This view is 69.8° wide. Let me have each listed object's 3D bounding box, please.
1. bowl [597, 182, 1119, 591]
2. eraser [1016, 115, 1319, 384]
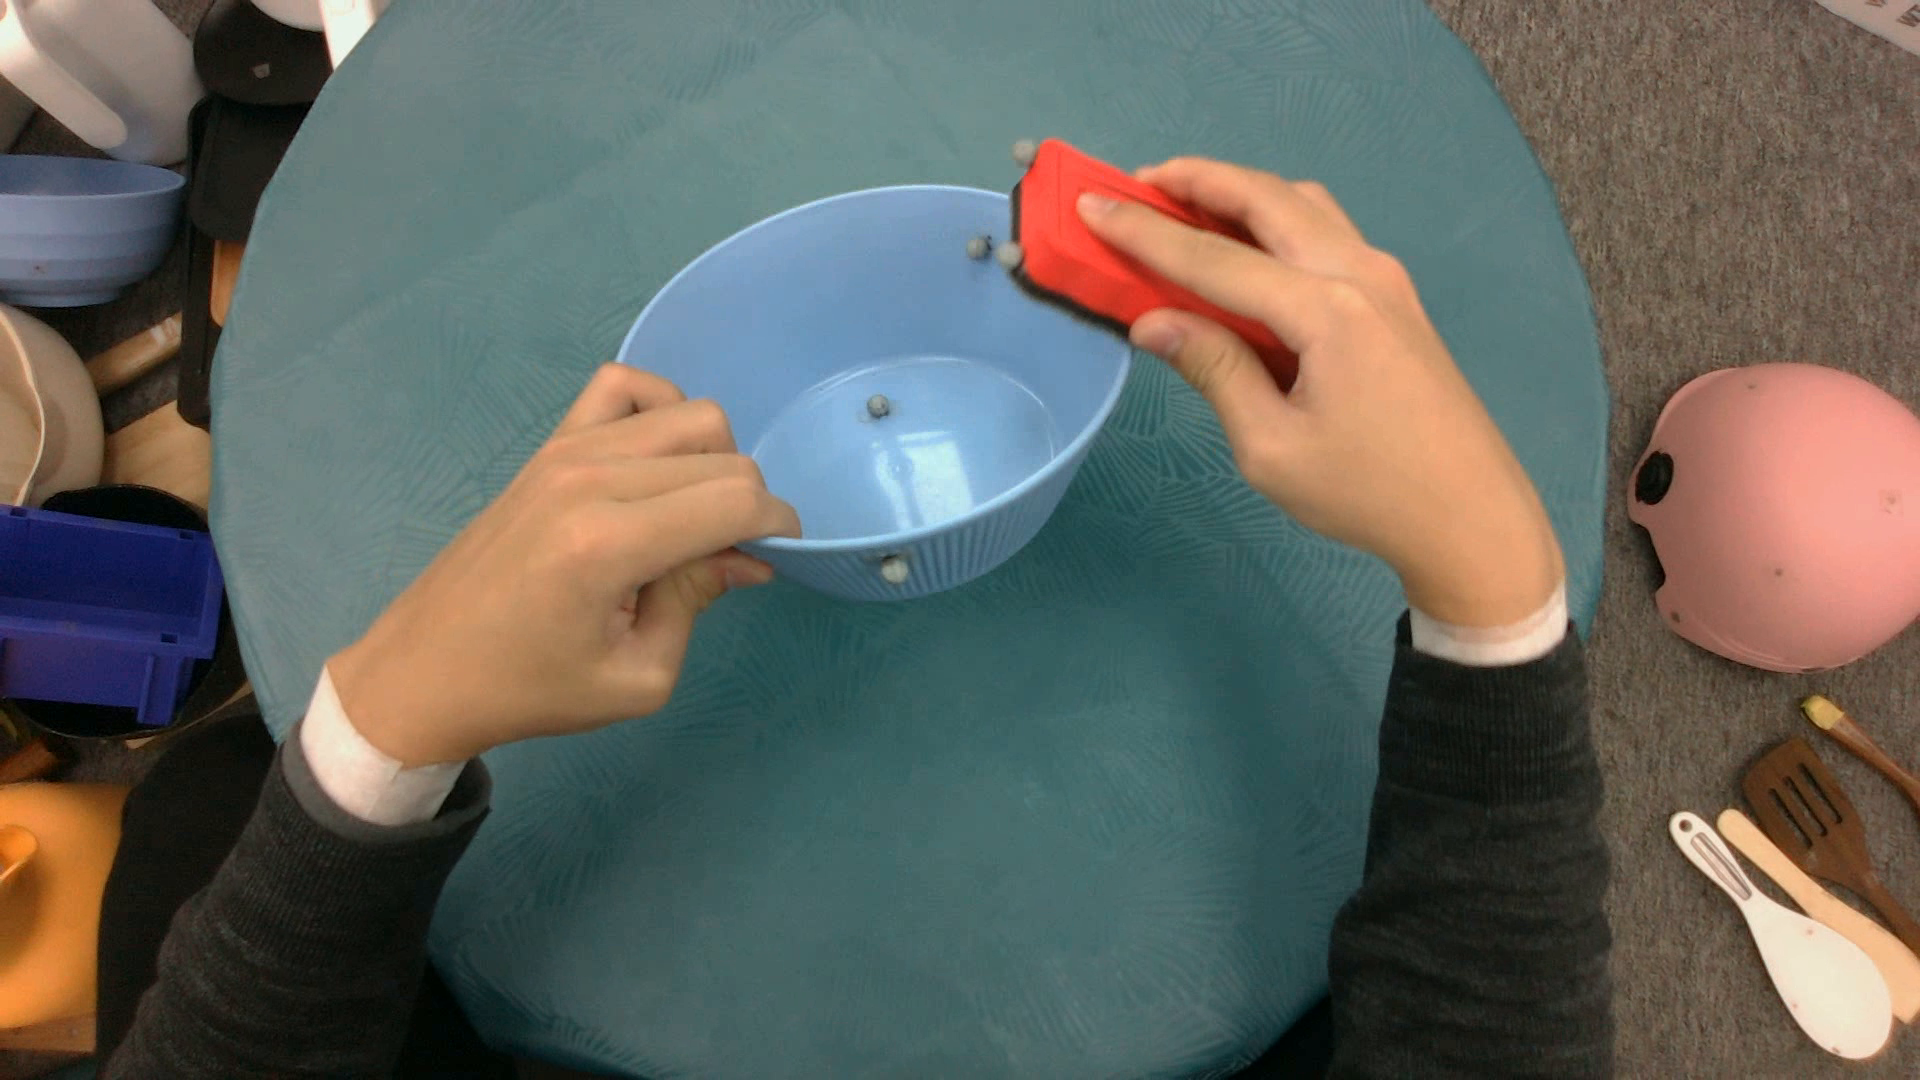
[{"bbox_3d":[-0.031,-0.047,0.481,0.176,0.070,0.177,-5,49,6],"label":"bowl"},{"bbox_3d":[0.070,-0.097,0.460,0.108,0.023,0.059,23,44,-21],"label":"eraser"}]
